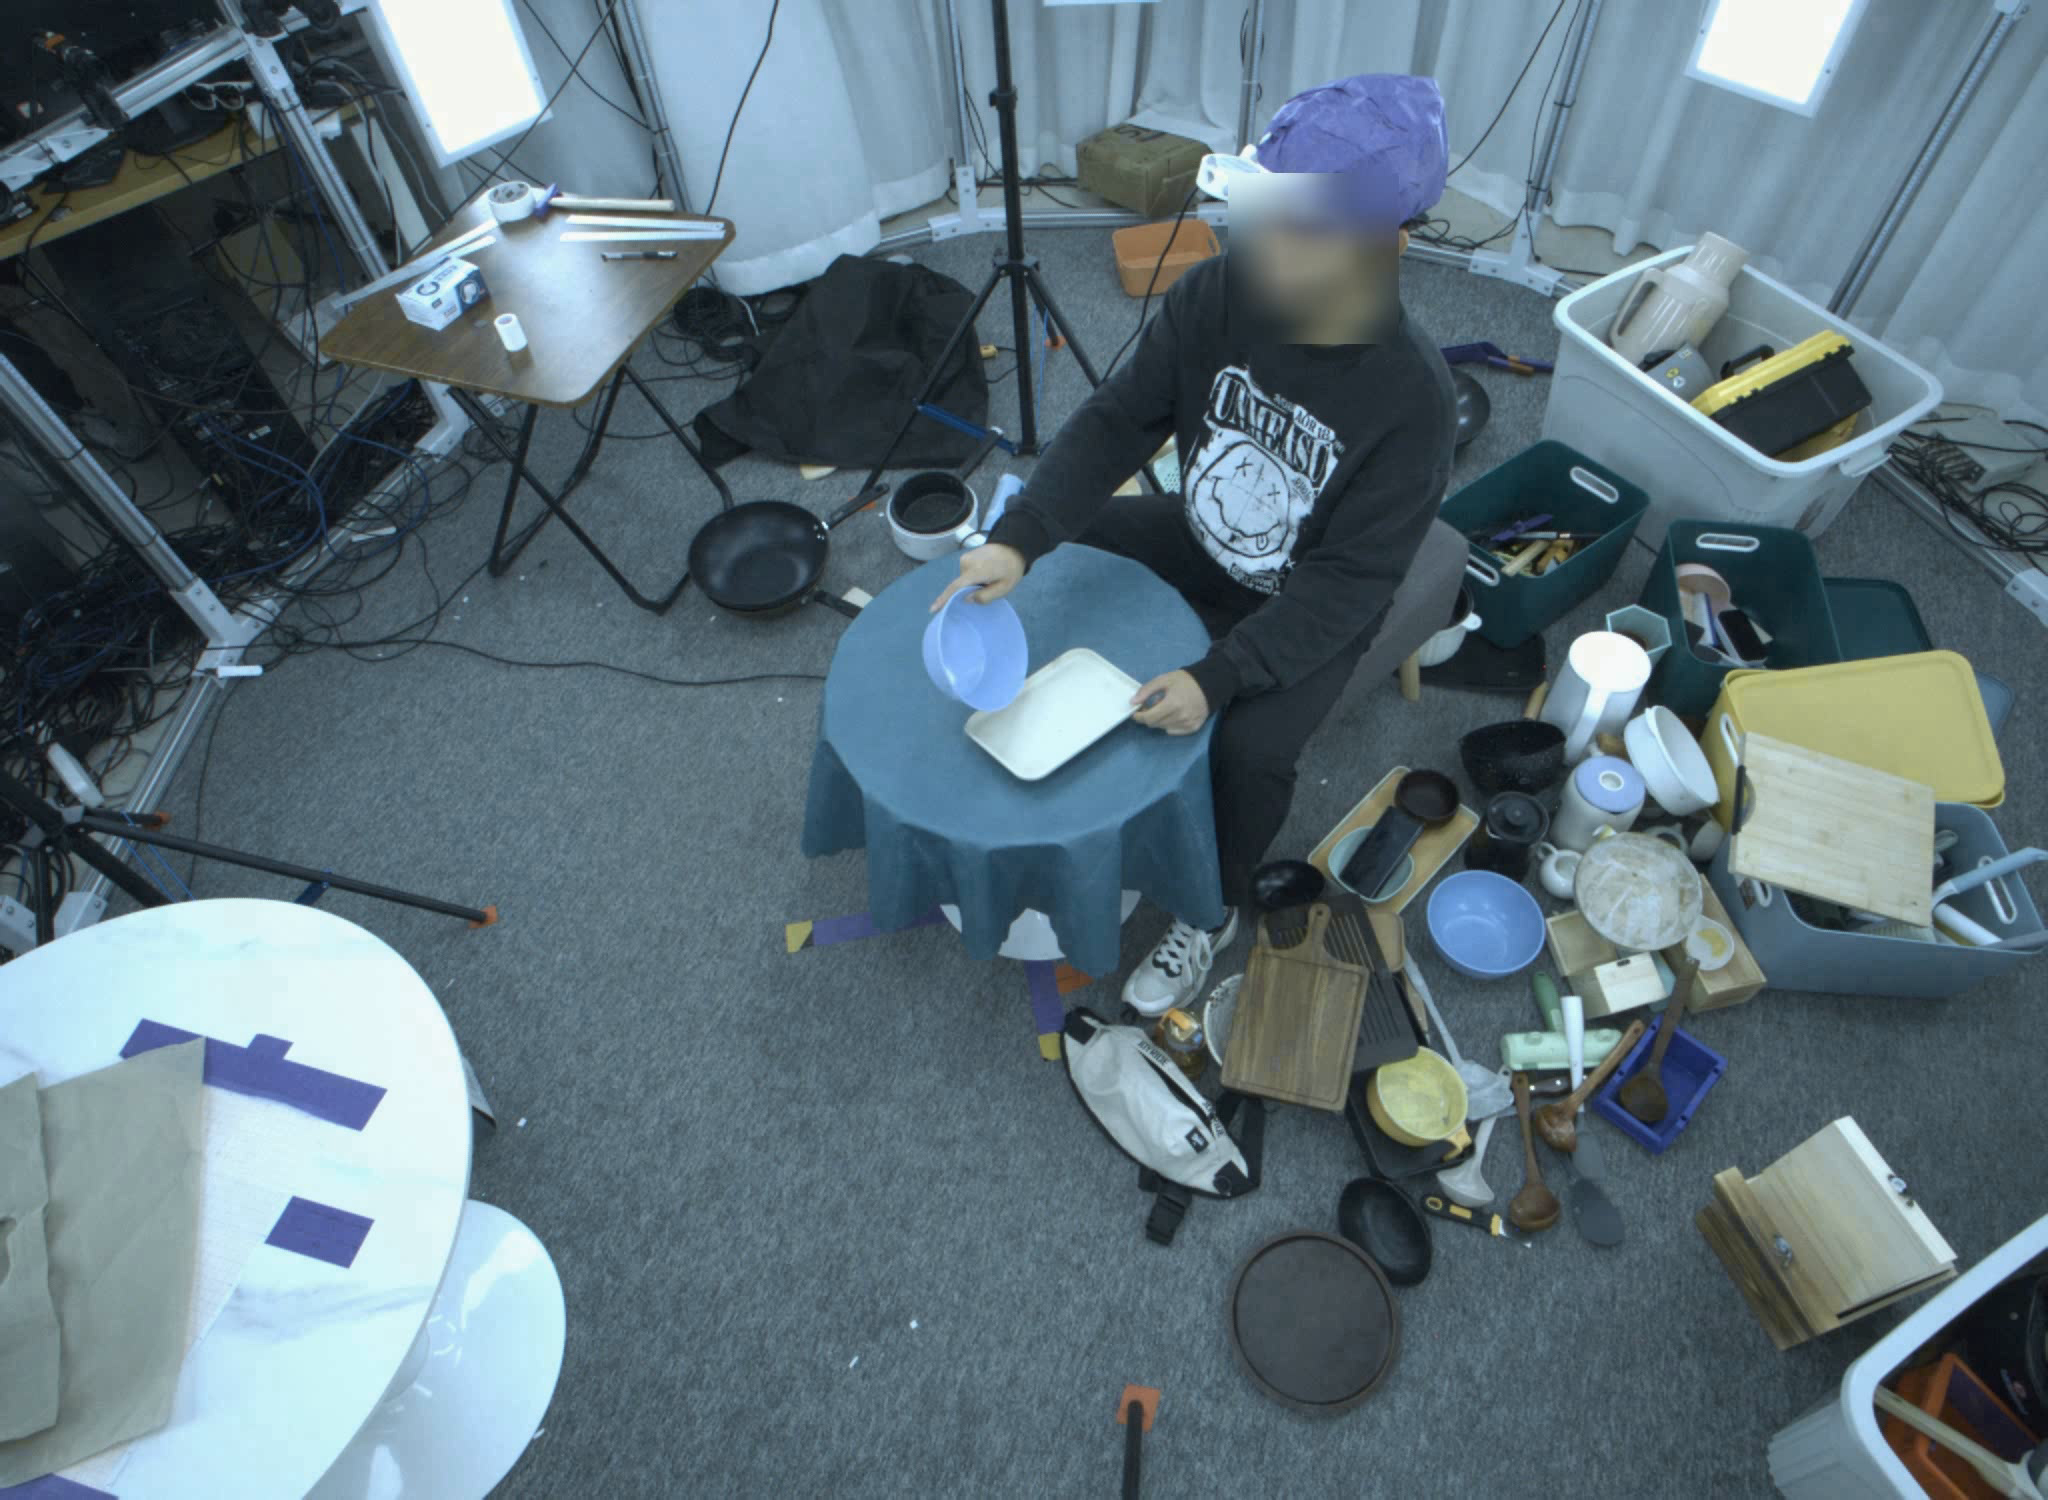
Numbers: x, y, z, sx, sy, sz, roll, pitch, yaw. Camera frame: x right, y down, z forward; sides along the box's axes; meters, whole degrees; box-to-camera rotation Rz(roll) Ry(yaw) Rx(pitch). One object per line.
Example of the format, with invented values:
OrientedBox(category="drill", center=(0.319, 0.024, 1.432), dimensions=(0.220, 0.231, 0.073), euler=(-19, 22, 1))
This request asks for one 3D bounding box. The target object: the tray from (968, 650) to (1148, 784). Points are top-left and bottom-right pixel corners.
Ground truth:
OrientedBox(category="tray", center=(0.050, -0.049, 1.807), dimensions=(0.241, 0.018, 0.167), euler=(-35, 53, -20))

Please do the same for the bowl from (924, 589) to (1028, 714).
OrientedBox(category="bowl", center=(-0.077, -0.134, 1.729), dimensions=(0.069, 0.180, 0.176), euler=(-7, 47, 42))
